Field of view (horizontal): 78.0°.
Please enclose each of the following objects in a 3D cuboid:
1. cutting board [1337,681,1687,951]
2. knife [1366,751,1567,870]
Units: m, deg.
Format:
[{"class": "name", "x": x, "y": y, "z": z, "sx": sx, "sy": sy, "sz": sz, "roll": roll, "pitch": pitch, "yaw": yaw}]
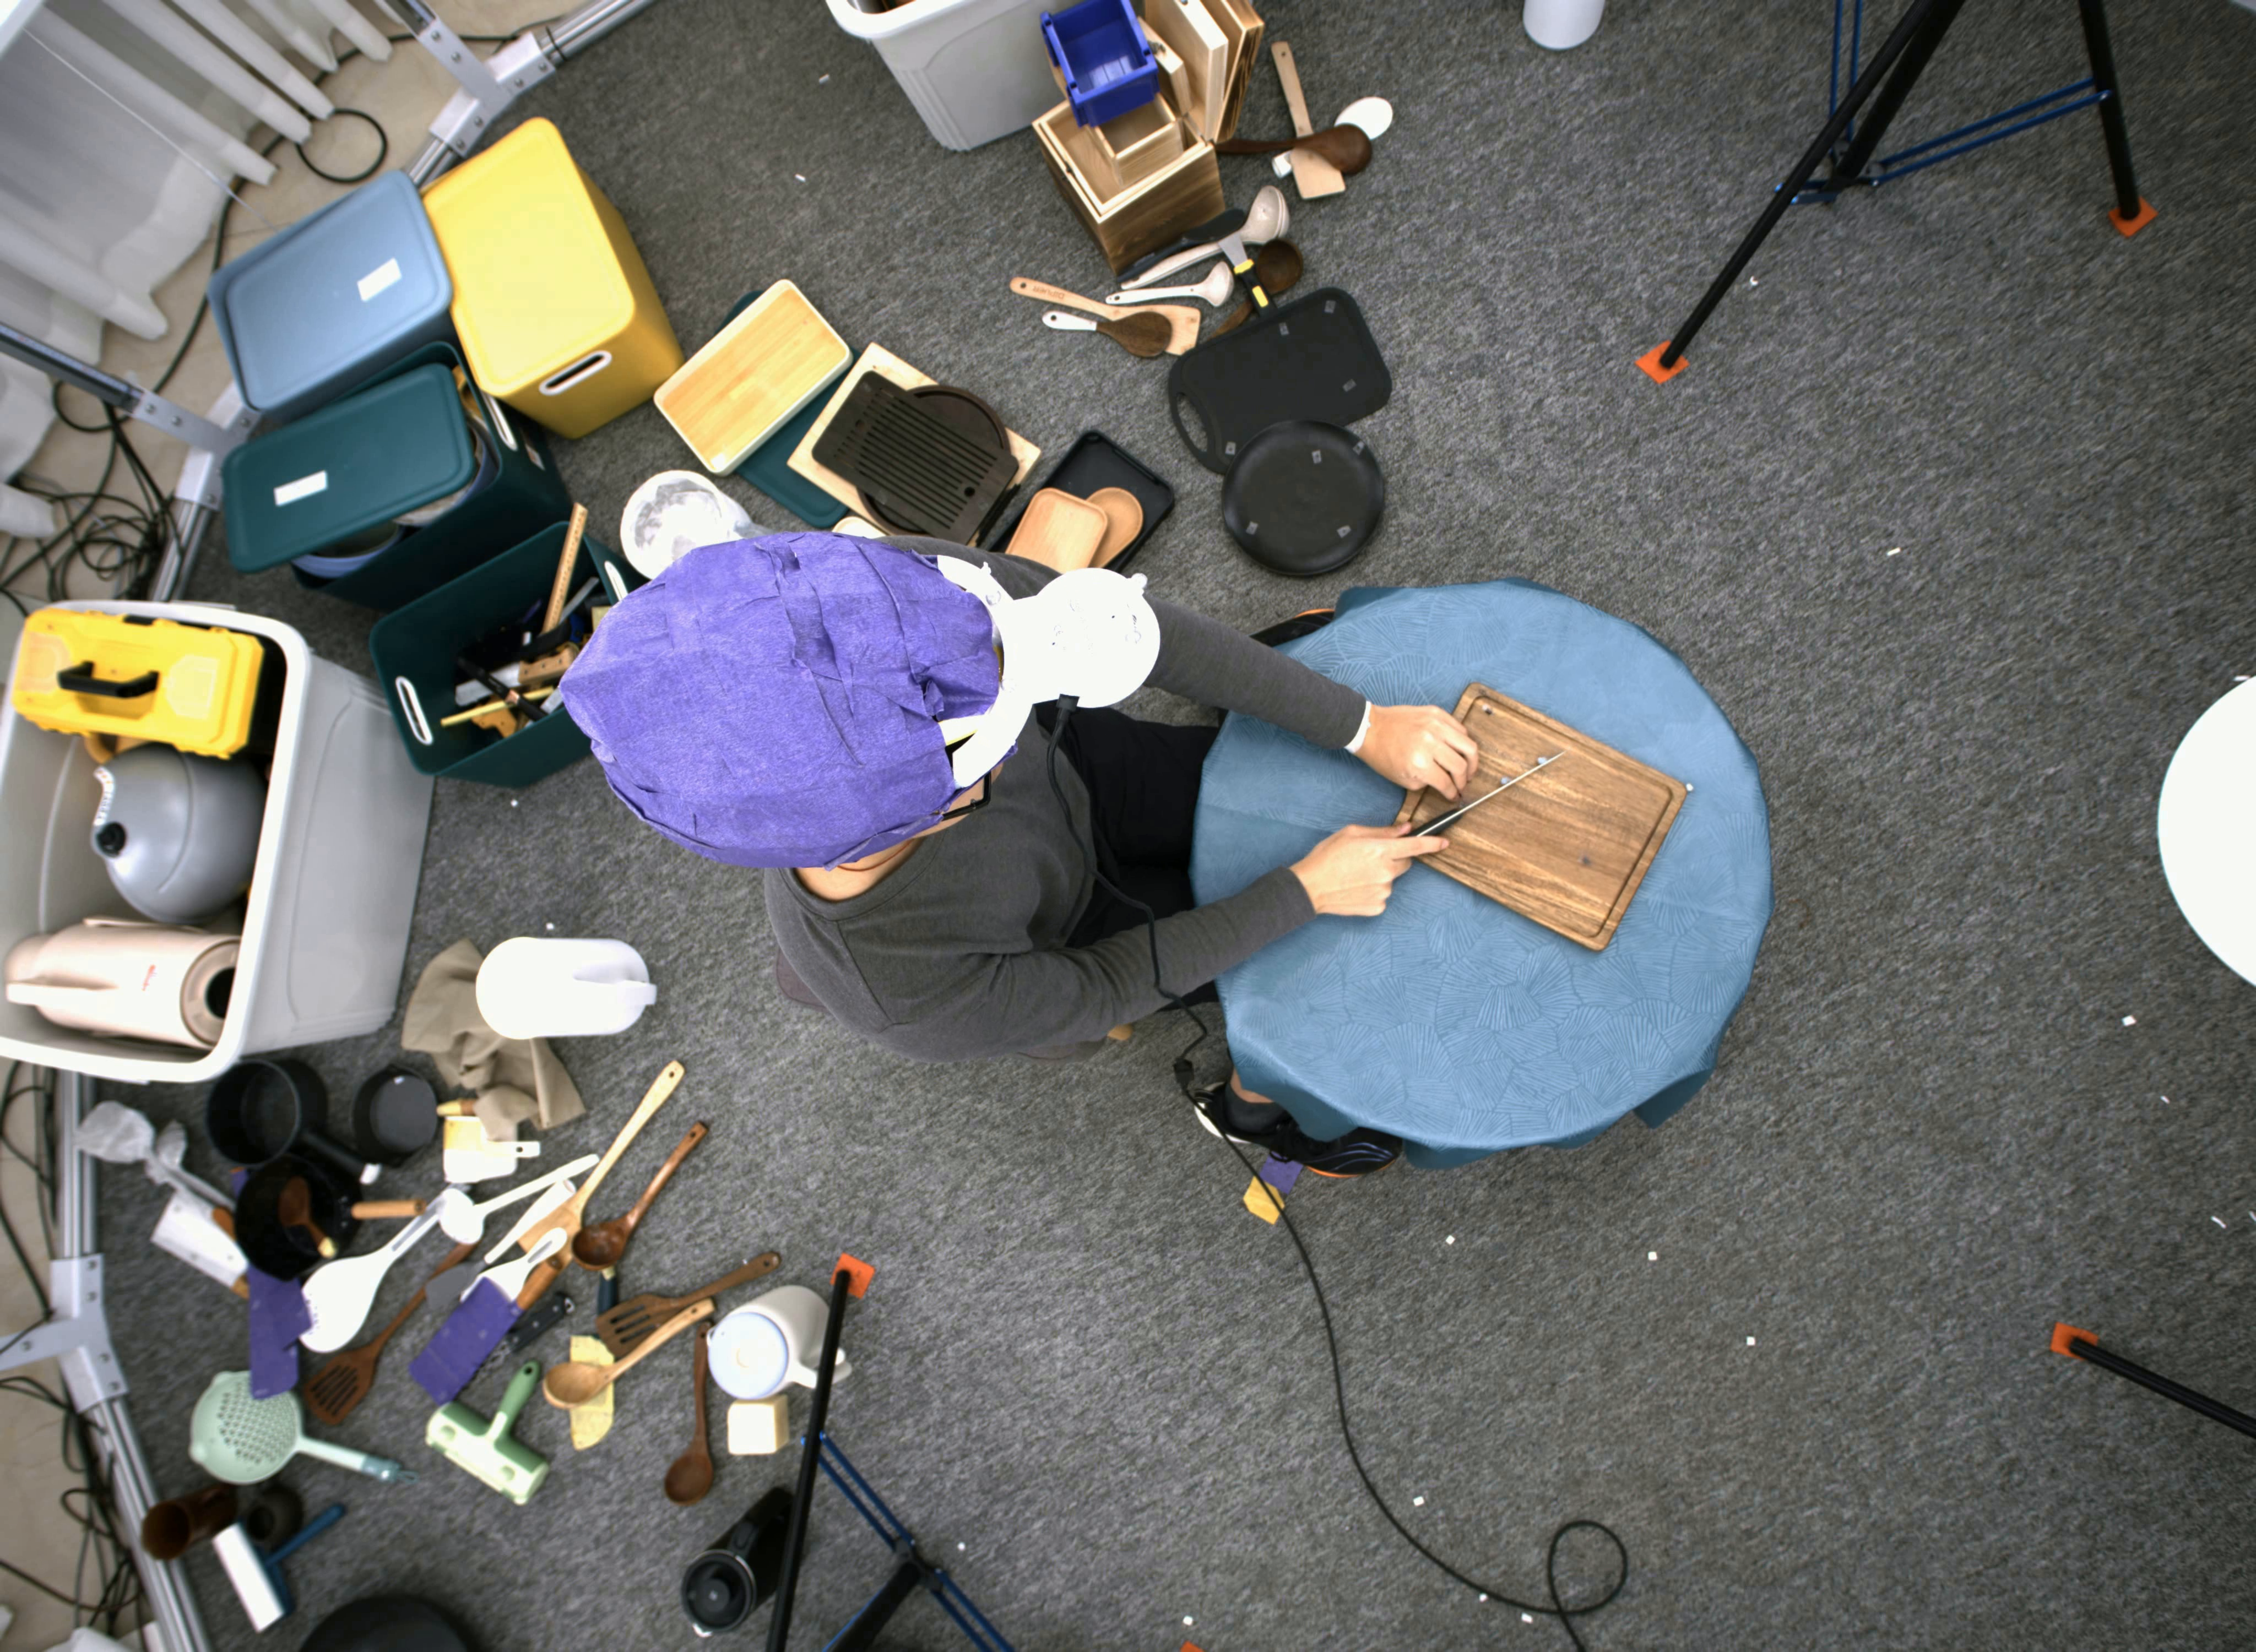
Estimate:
[{"class": "cutting board", "x": 0.379, "y": -0.037, "z": 1.435, "sx": 0.351, "sy": 0.023, "sz": 0.201, "roll": 28, "pitch": 92, "yaw": 11}, {"class": "knife", "x": 0.351, "y": -0.021, "z": 1.418, "sx": 0.239, "sy": 0.024, "sz": 0.016, "roll": -30, "pitch": 78, "yaw": 4}]
